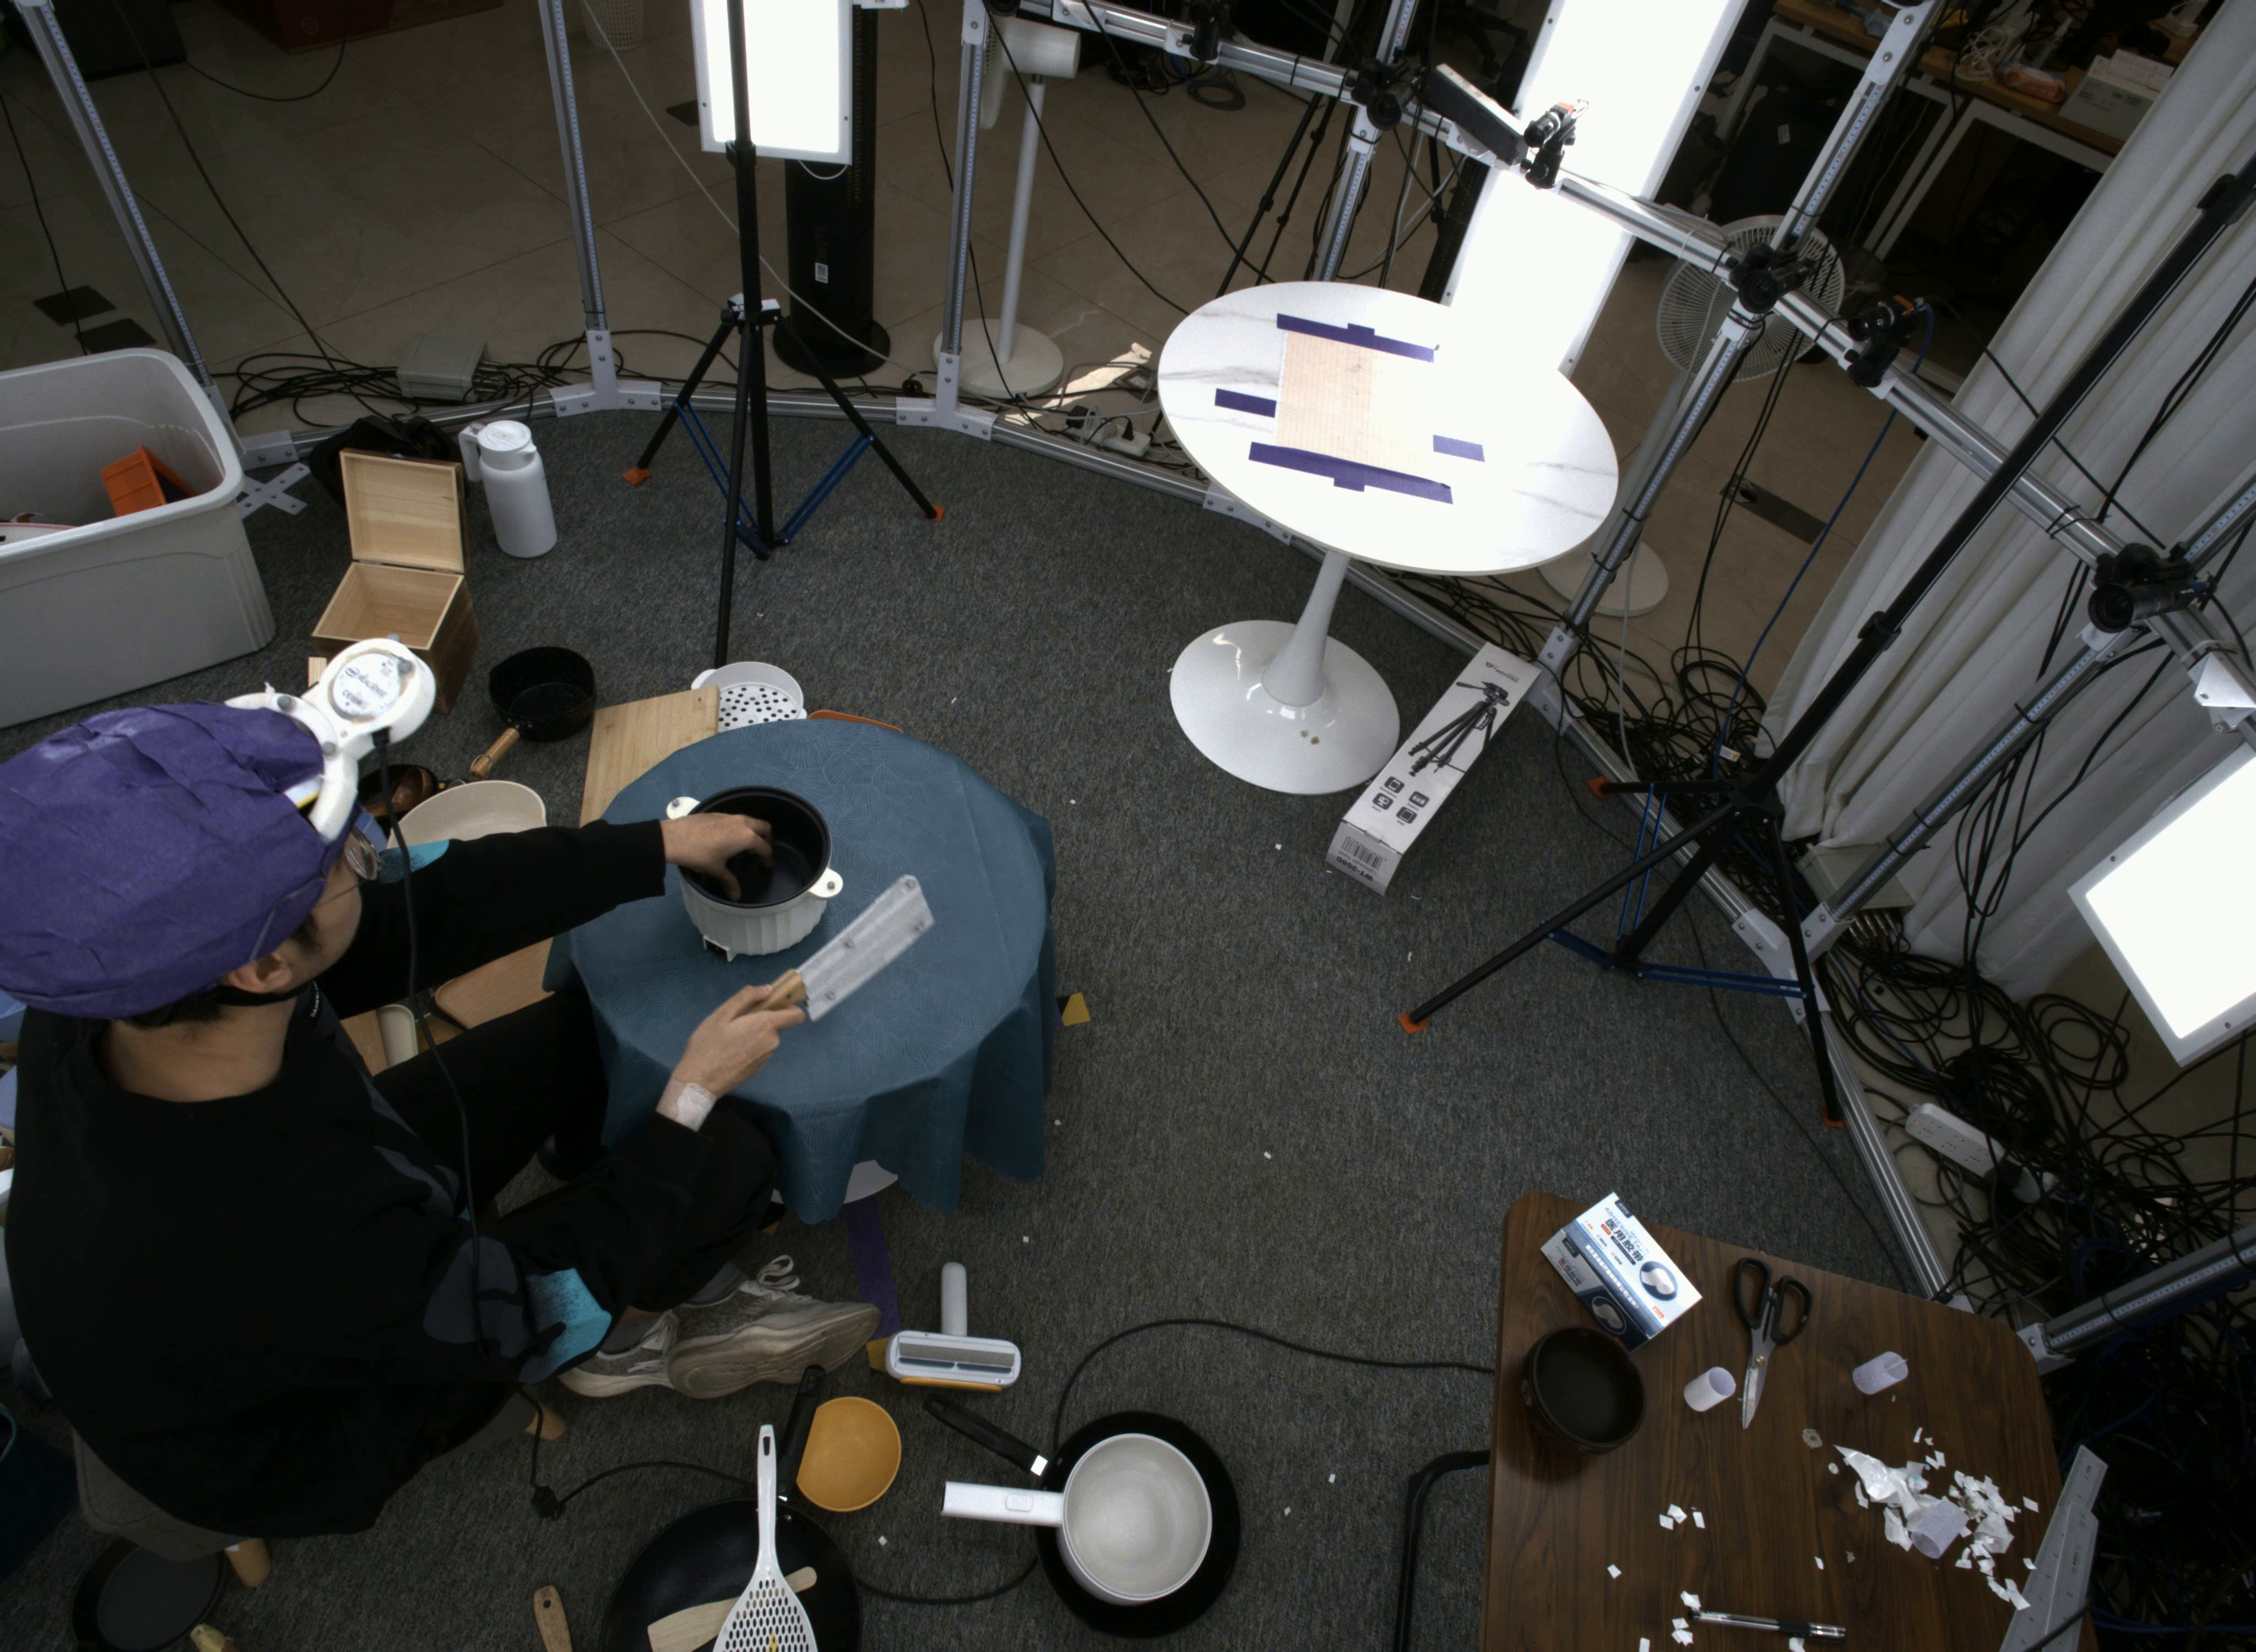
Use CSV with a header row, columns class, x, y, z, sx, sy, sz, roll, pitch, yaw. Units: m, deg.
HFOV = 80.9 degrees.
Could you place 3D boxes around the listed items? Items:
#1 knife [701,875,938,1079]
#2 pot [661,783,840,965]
class,x,y,z,sx,sy,sz,roll,pitch,yaw
knife,-0.332,0.164,1.417,0.021,0.118,0.316,29,52,32
pot,-0.454,0.056,1.573,0.237,0.145,0.189,26,55,5
